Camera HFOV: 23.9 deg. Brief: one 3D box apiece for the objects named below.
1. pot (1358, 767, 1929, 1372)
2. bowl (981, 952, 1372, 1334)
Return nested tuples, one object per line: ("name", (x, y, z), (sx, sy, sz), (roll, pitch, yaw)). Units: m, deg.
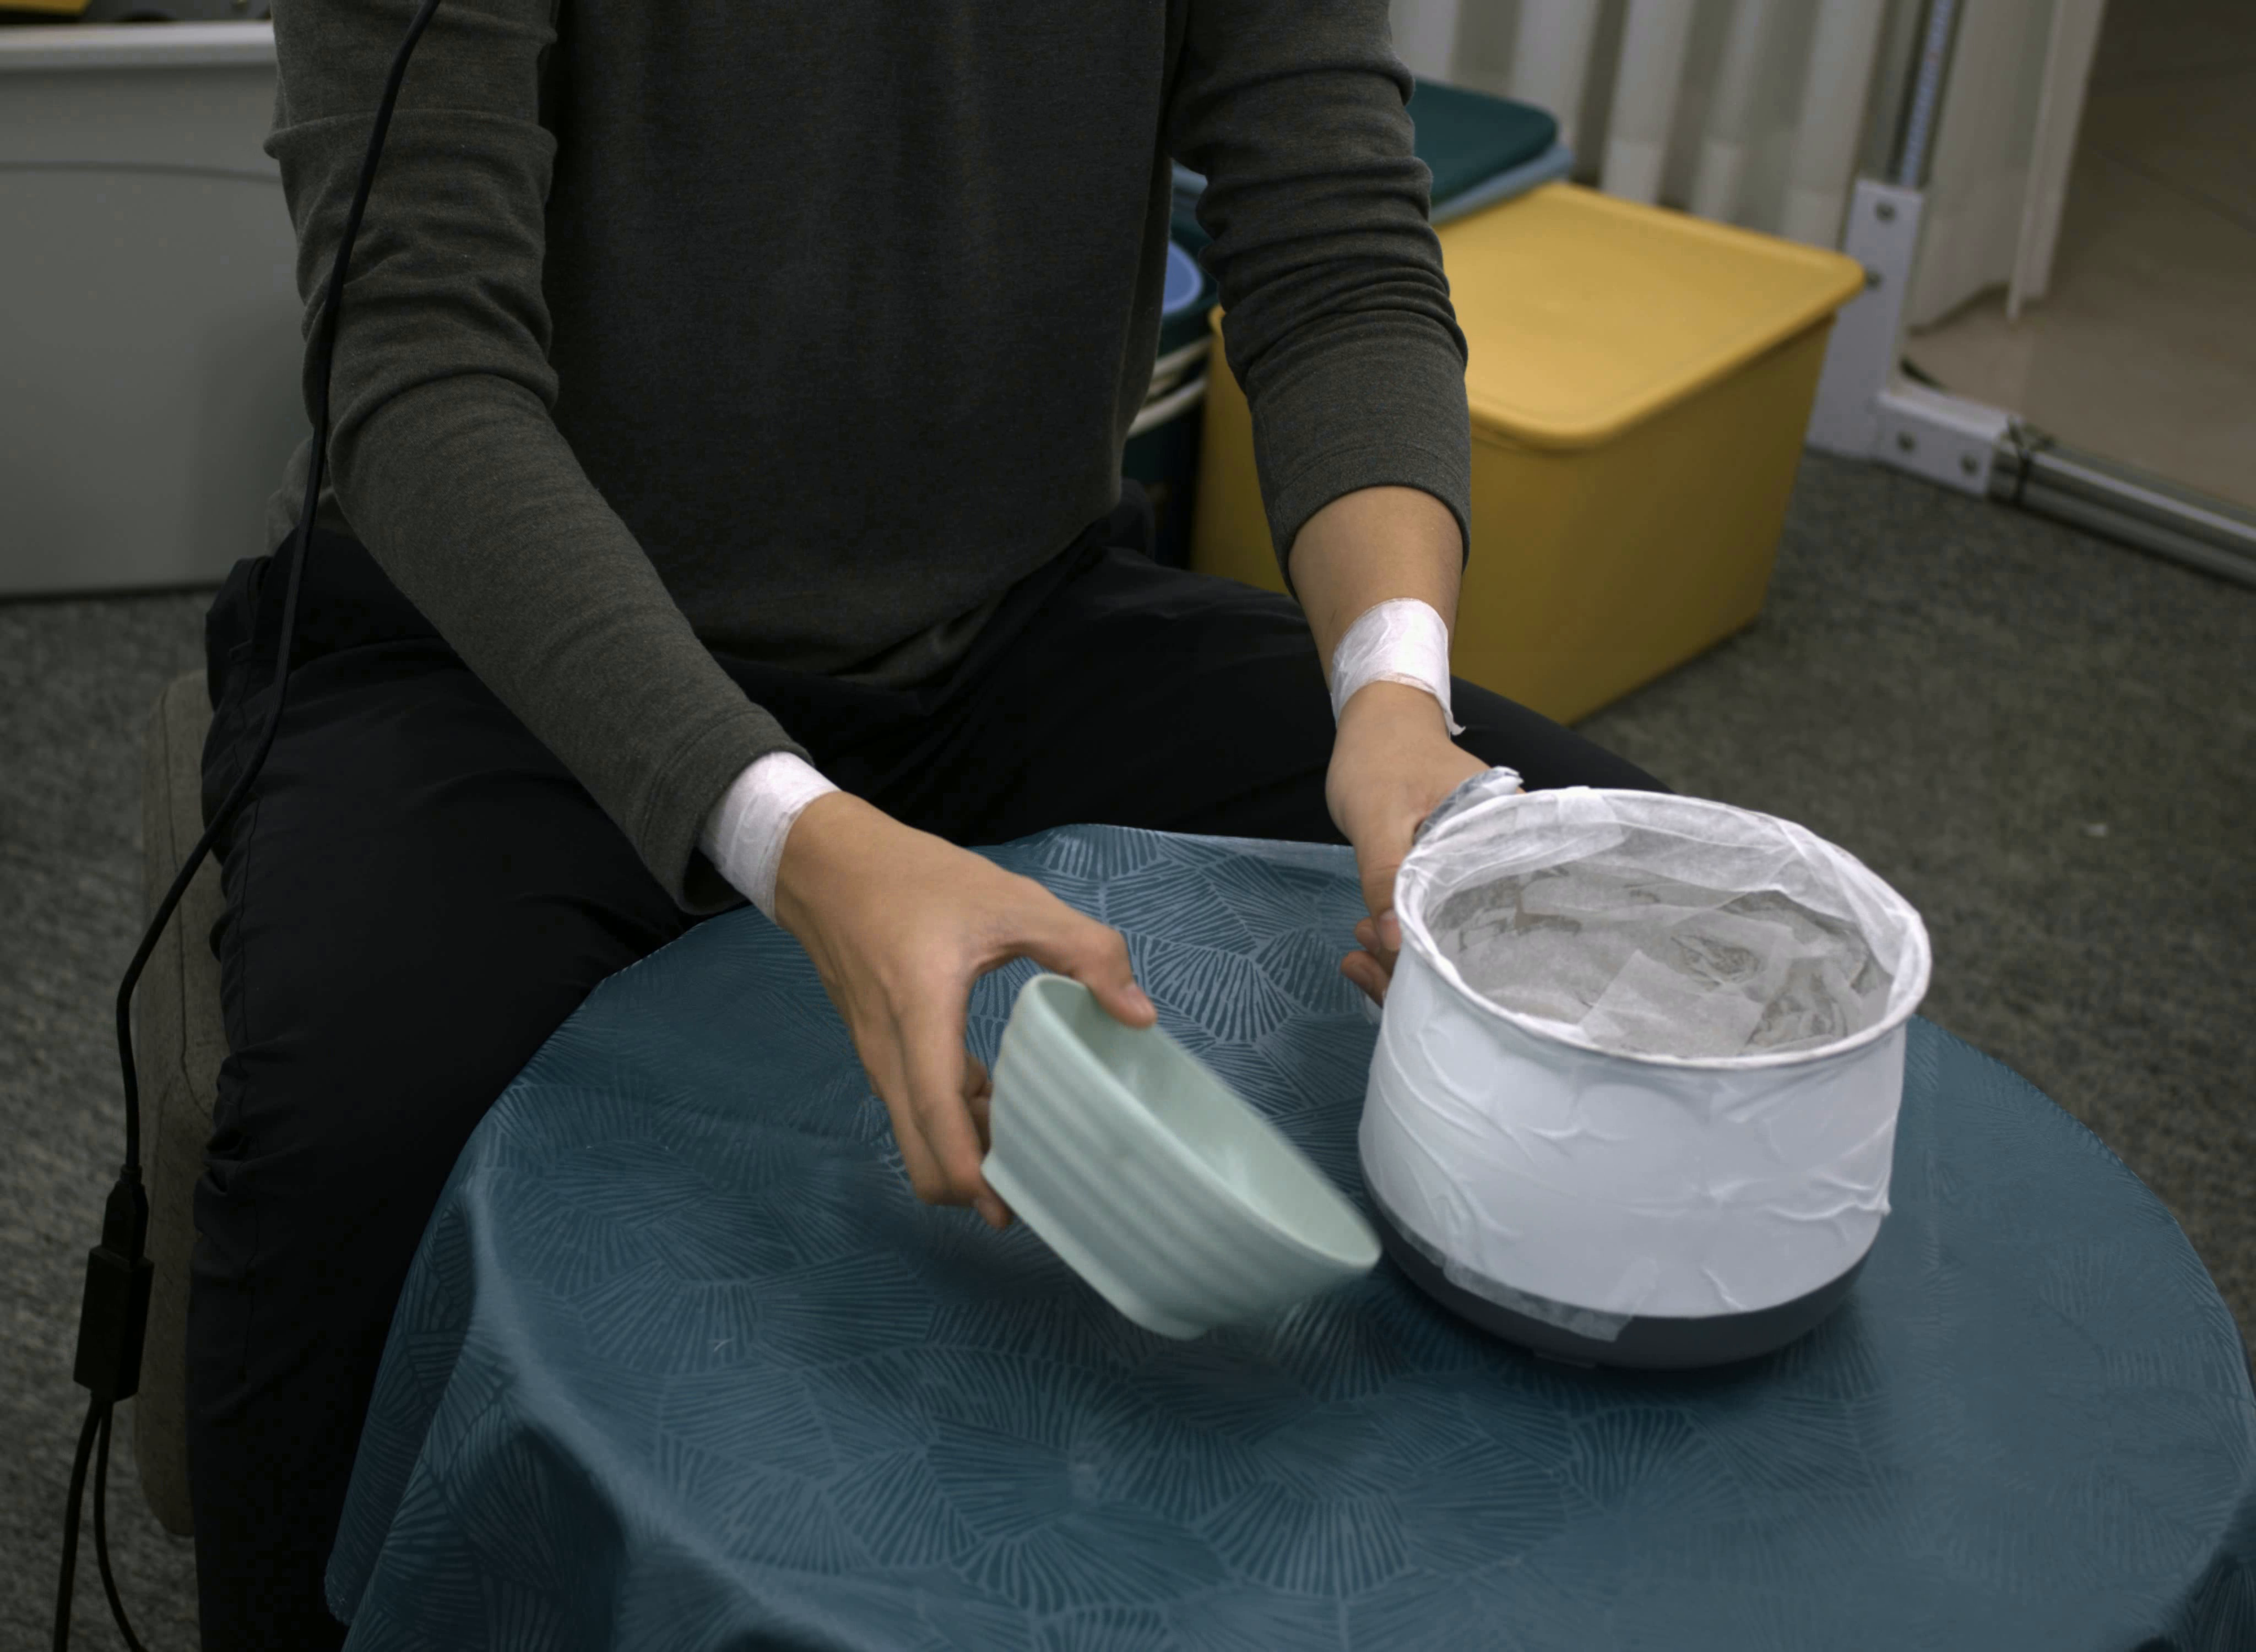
("pot", (0.154, 0.073, 1.783), (0.177, 0.136, 0.236), (-11, 33, -28))
("bowl", (0.007, 0.111, 1.690), (0.151, 0.058, 0.152), (44, 10, -10))
